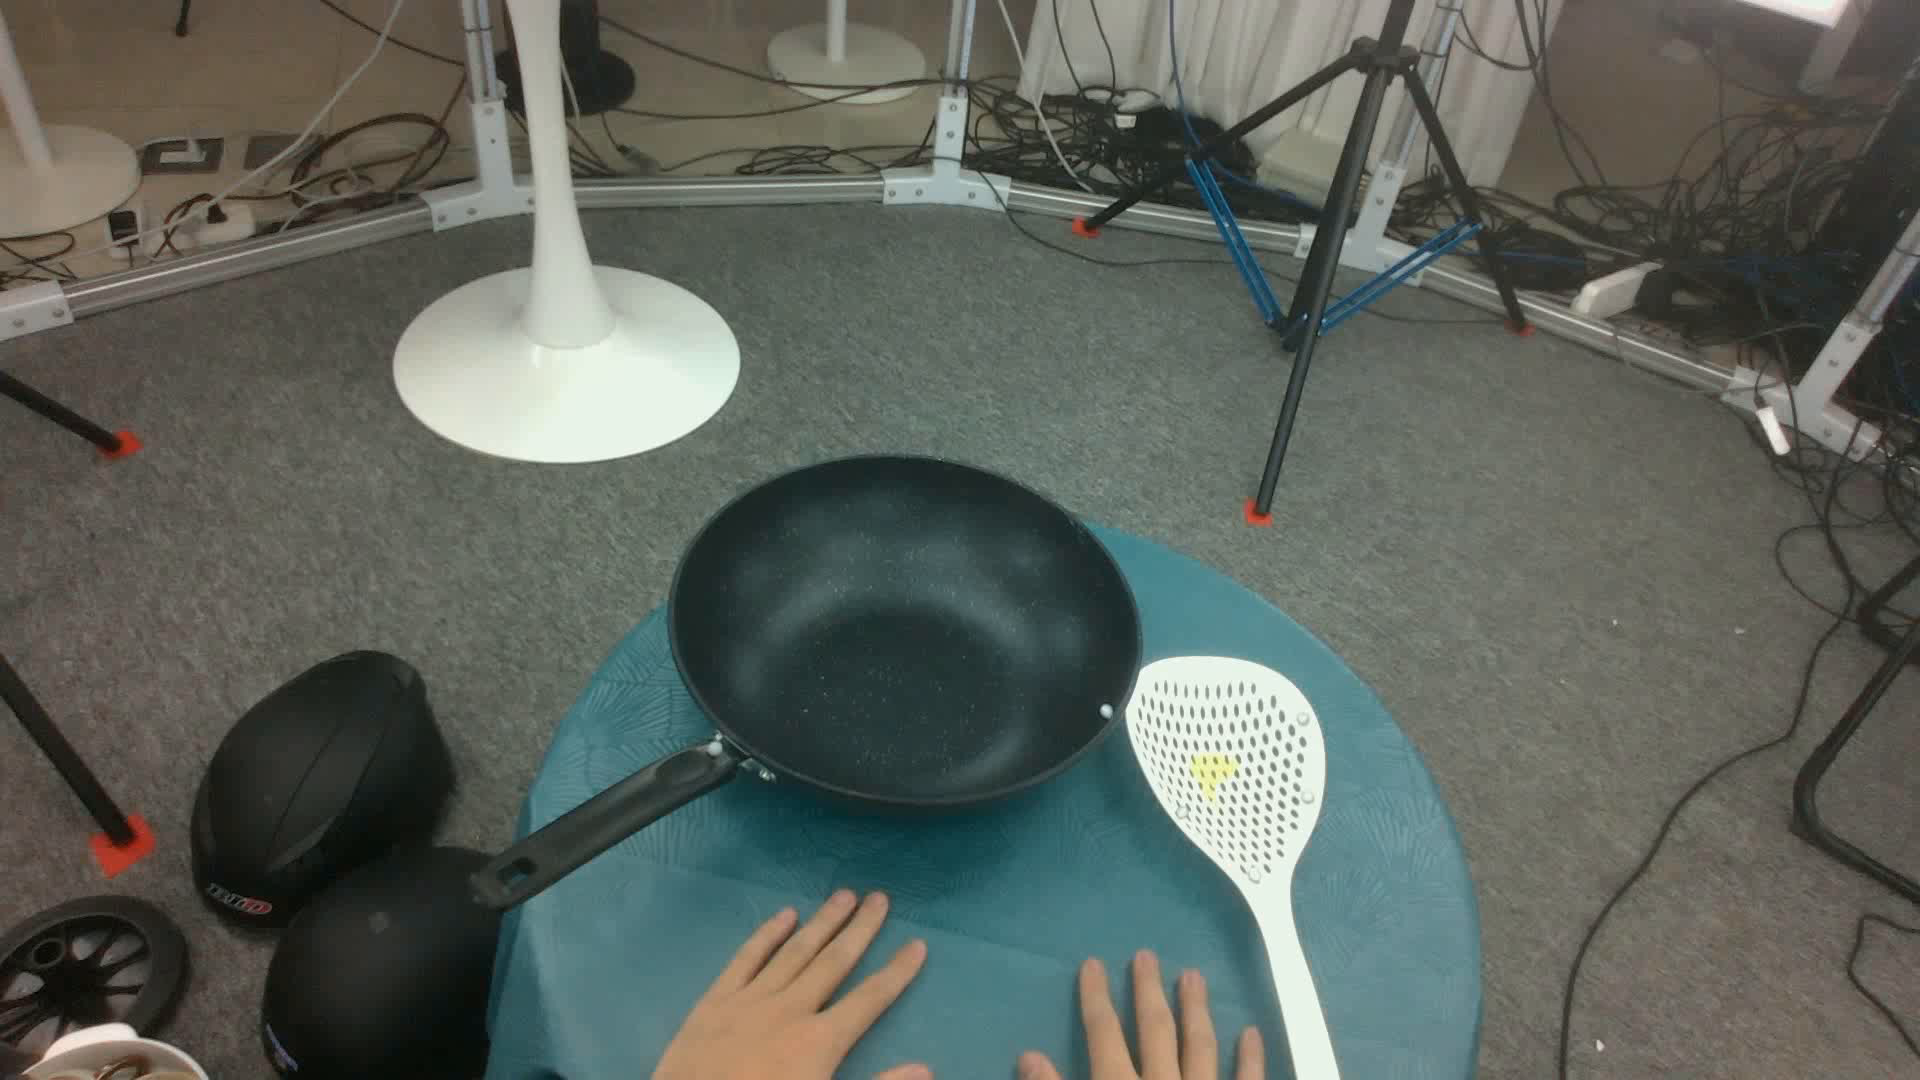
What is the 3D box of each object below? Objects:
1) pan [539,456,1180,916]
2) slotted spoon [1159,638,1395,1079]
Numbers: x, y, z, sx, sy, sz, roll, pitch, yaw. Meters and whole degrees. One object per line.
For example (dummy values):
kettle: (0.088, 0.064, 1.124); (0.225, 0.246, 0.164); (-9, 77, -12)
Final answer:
pan: (-0.063, 0.105, 0.881); (0.310, 0.111, 0.479); (30, 48, 26)
slotted spoon: (0.211, 0.205, 0.850); (0.137, 0.050, 0.349); (-1, 44, -9)
